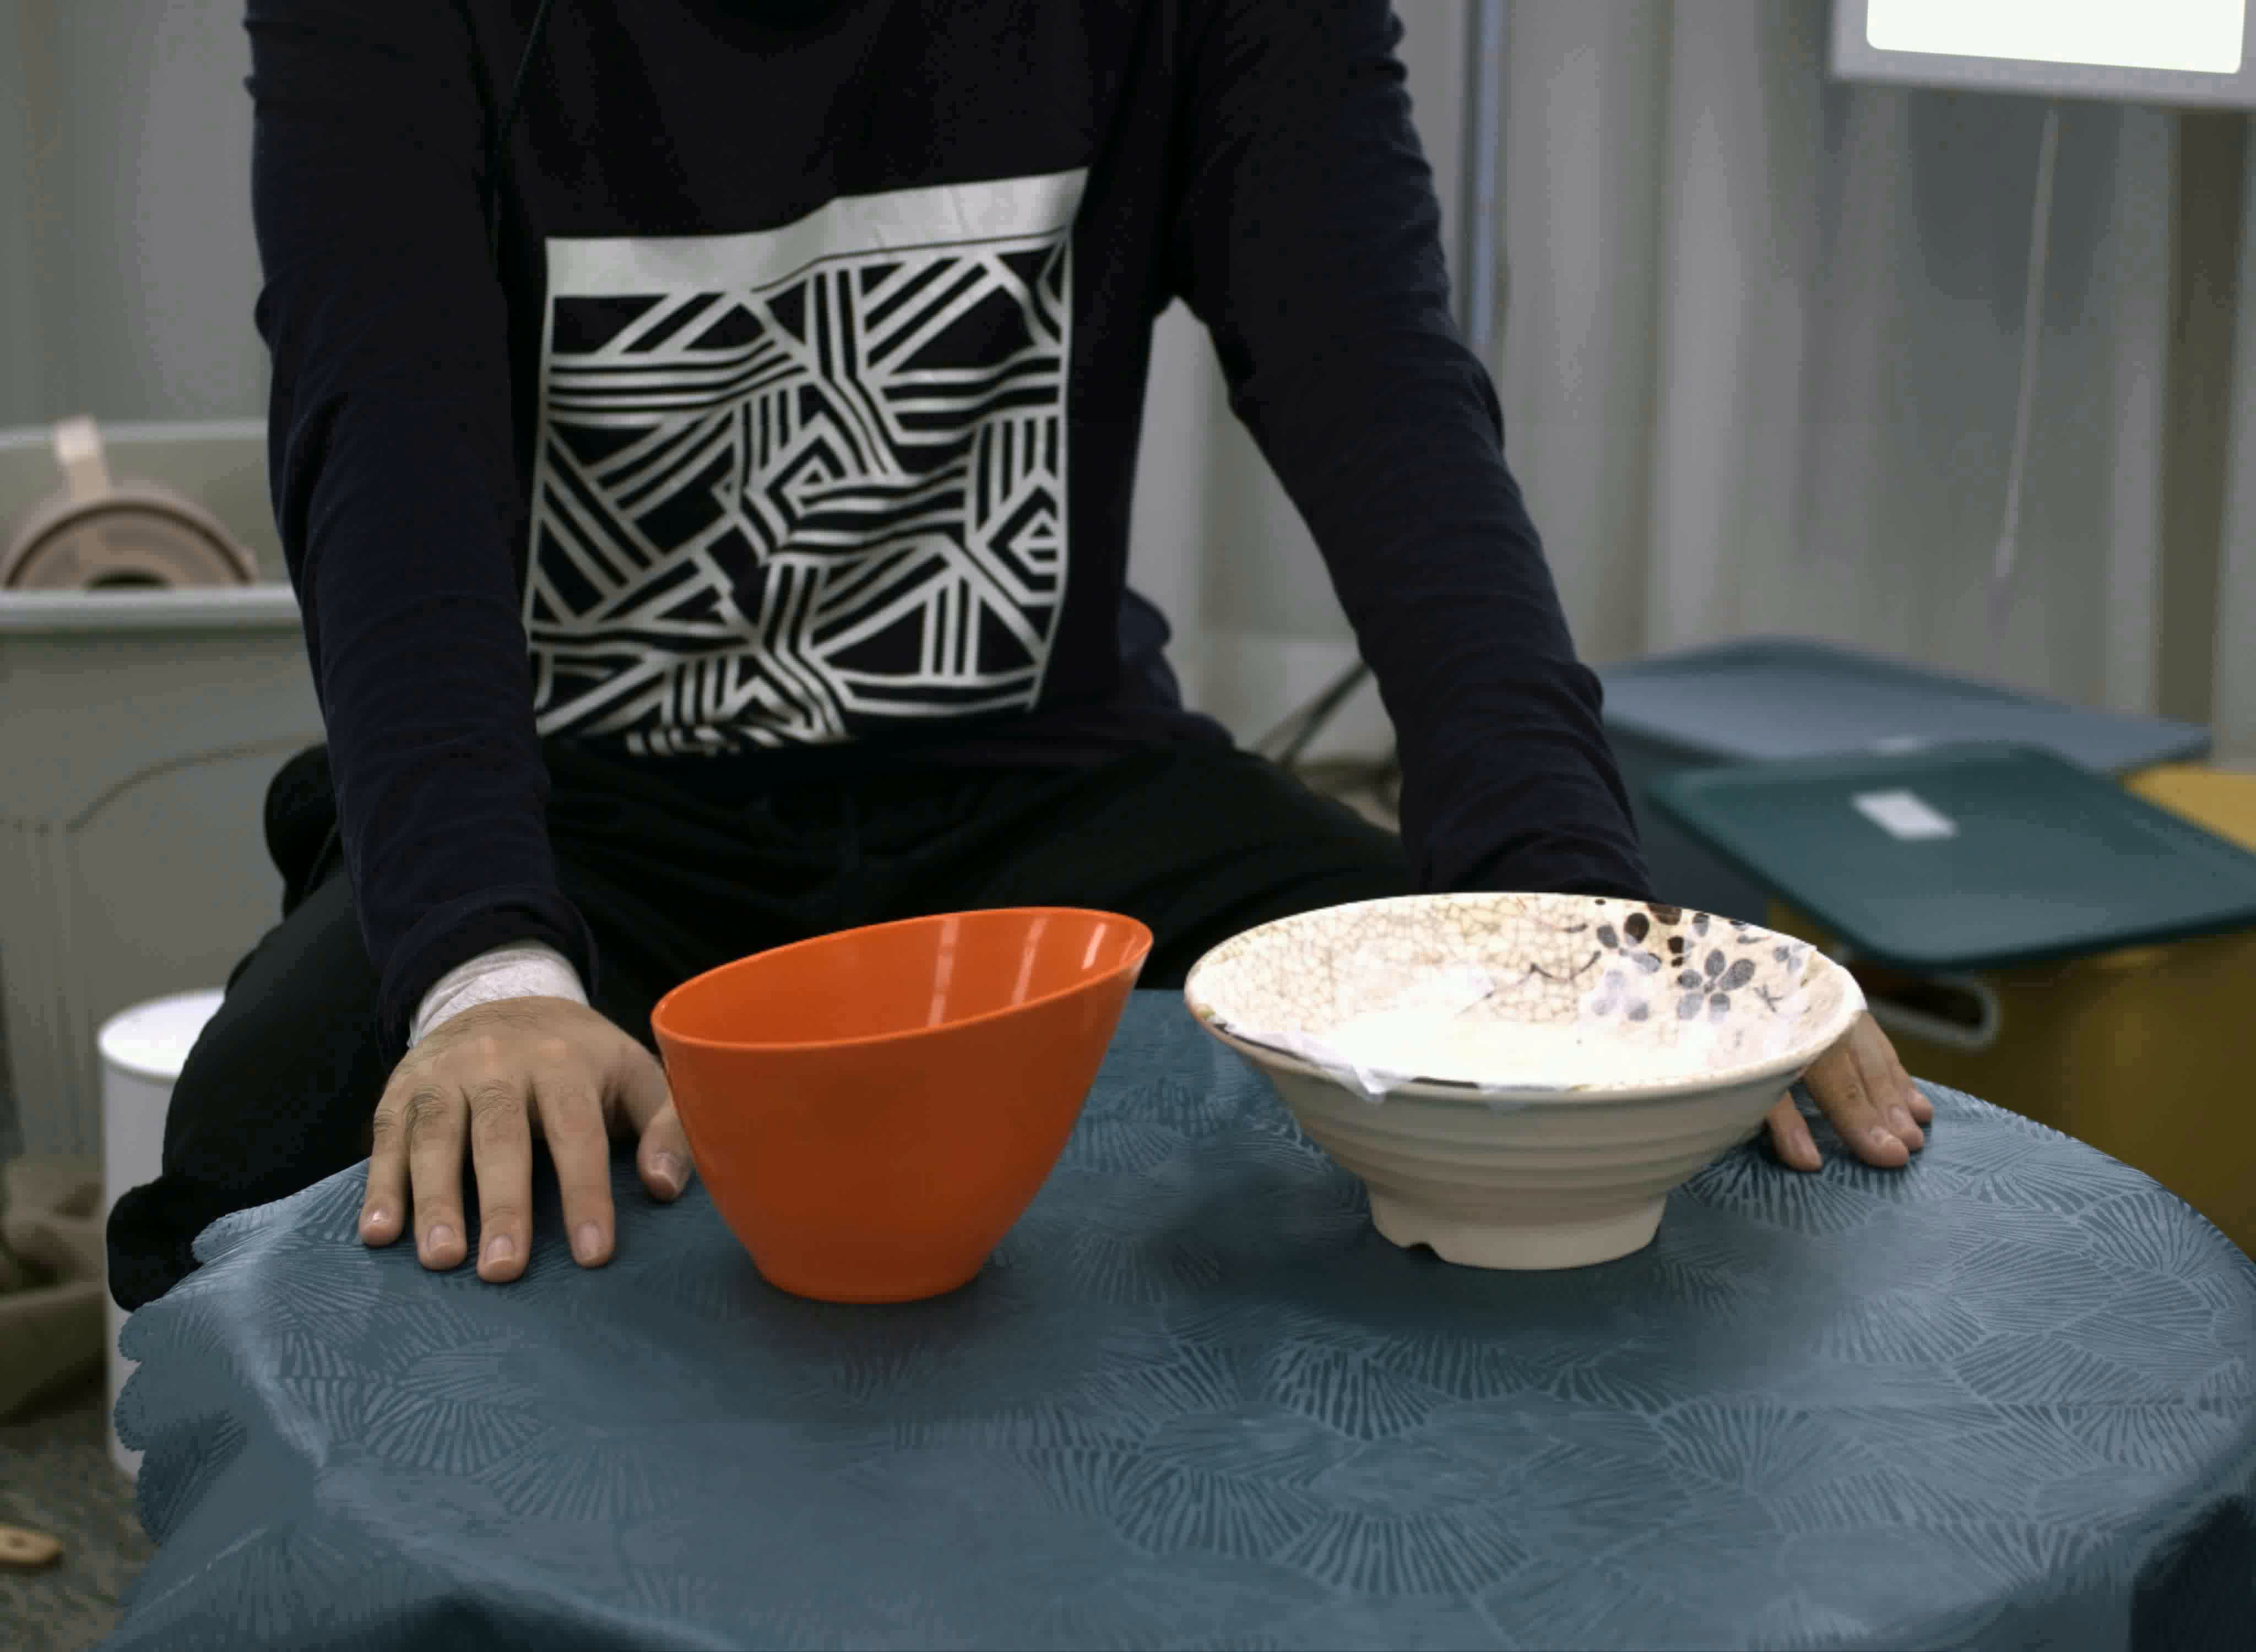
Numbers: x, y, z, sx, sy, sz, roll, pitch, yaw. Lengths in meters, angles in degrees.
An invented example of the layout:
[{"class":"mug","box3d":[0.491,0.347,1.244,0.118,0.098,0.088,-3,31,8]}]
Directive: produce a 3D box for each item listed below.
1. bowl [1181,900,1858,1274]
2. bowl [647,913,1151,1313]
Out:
[{"class":"bowl","box3d":[0.116,0.085,1.587,0.203,0.078,0.203,1,14,0]},{"class":"bowl","box3d":[-0.066,0.084,1.539,0.147,0.105,0.147,-1,15,1]}]
